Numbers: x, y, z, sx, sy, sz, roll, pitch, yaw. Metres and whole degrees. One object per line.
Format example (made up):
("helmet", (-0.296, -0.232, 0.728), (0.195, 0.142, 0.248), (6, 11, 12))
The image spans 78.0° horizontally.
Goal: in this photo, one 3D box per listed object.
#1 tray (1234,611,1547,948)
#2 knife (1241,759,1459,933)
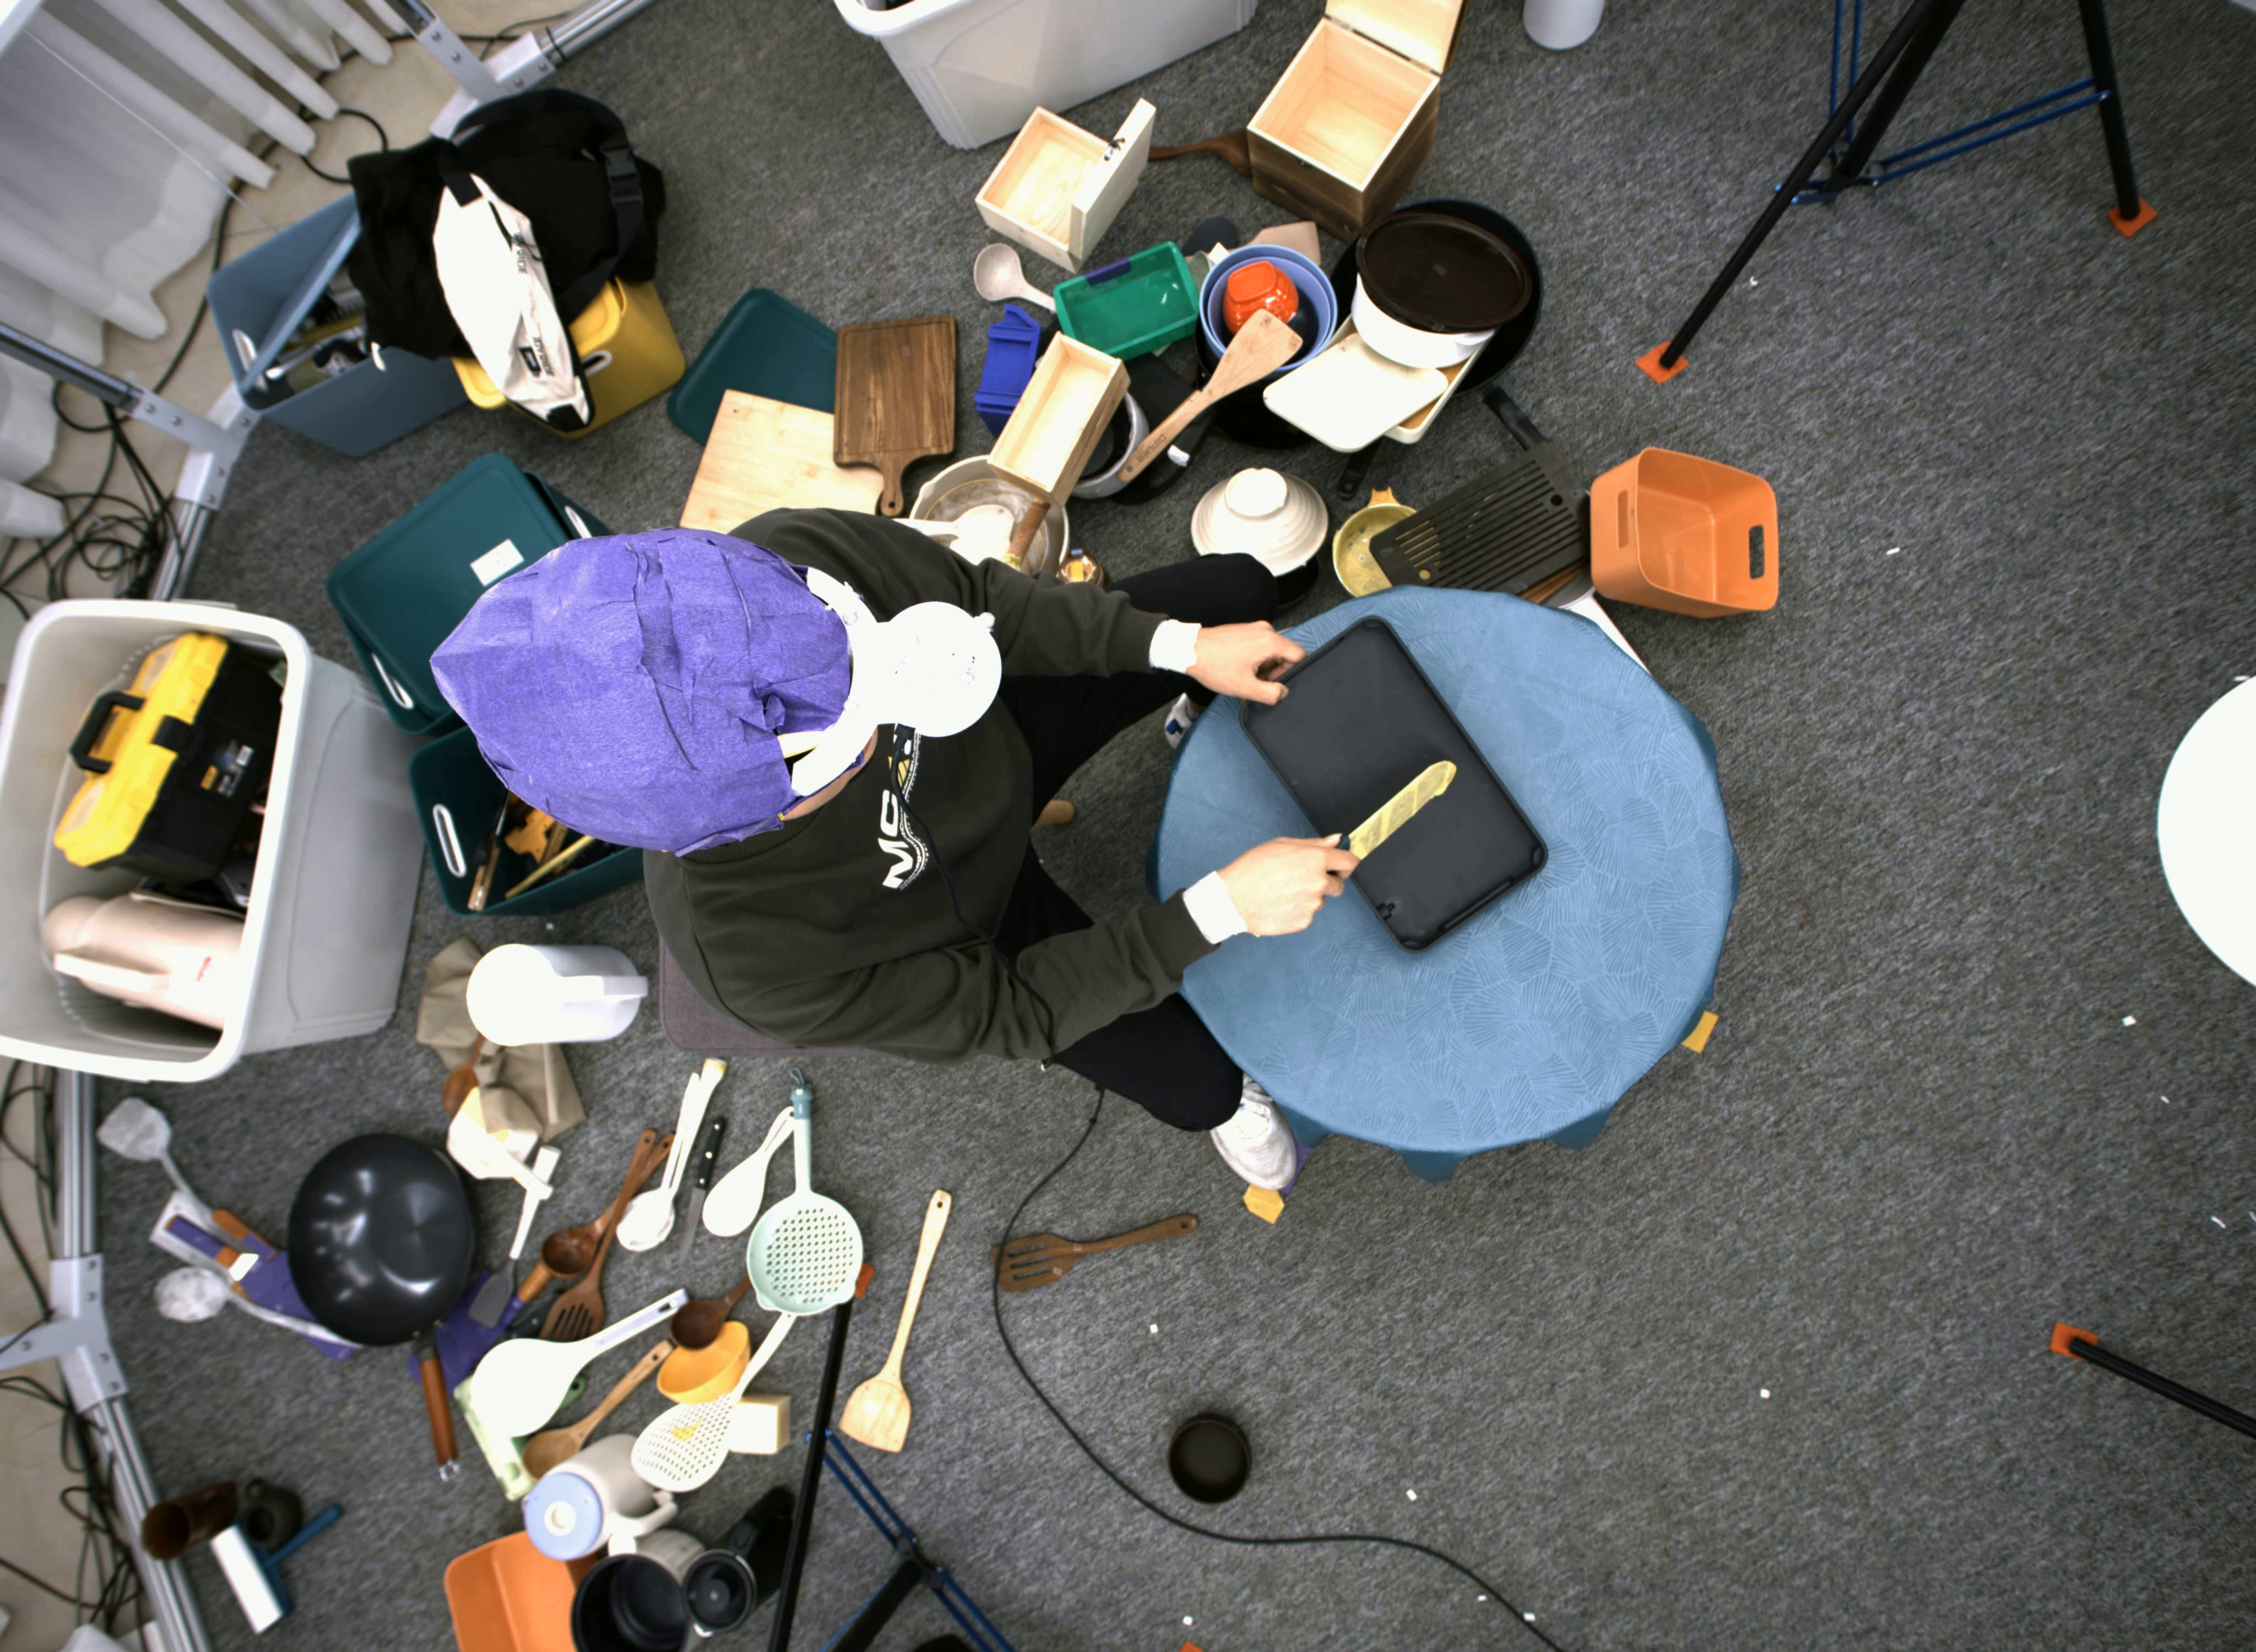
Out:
("tray", (0.268, -0.048, 1.414), (0.185, 0.037, 0.318), (-37, 94, 8))
("knife", (0.226, 0.019, 1.370), (0.287, 0.083, 0.027), (-36, 60, -13))
